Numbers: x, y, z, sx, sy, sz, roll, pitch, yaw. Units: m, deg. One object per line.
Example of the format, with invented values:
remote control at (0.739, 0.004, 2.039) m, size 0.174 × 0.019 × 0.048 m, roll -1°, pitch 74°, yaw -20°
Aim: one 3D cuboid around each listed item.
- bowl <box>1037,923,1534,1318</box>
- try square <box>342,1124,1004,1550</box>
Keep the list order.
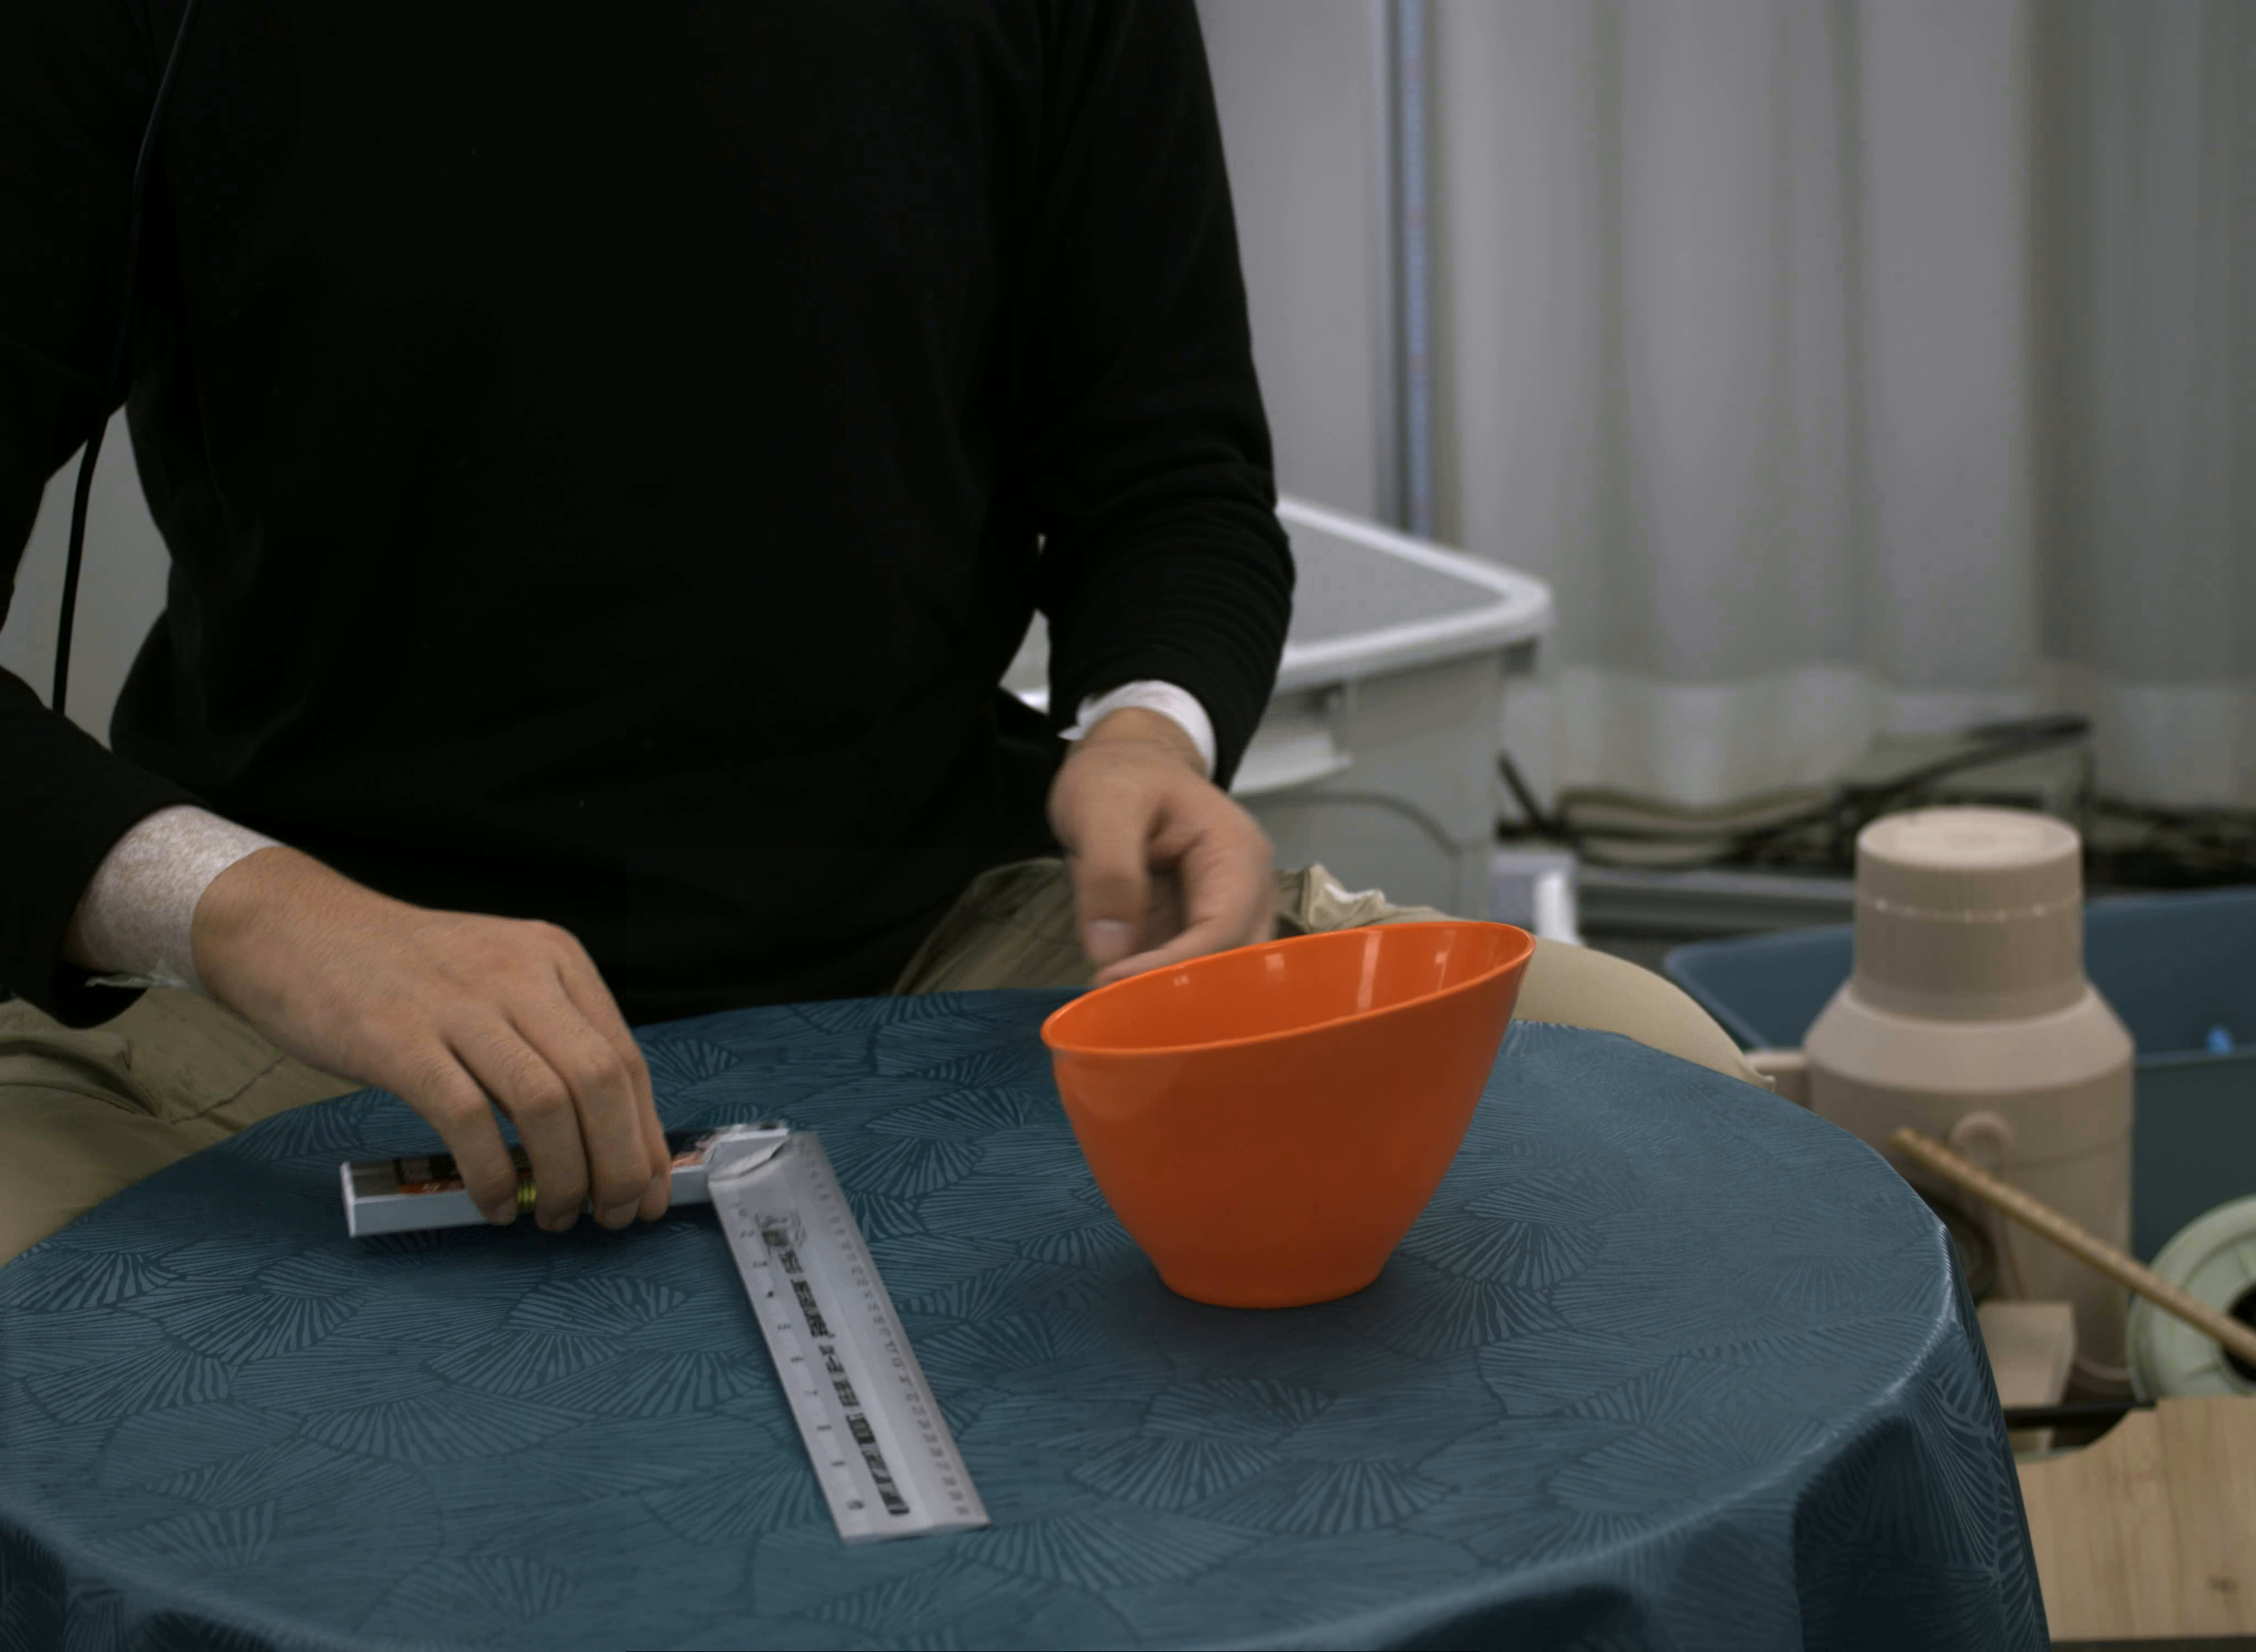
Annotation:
bowl at (0.048, 0.087, 1.614) m, size 0.147 × 0.104 × 0.149 m, roll -4°, pitch 15°, yaw 1°
try square at (-0.139, 0.153, 1.584) m, size 0.151 × 0.016 × 0.315 m, roll -9°, pitch 18°, yaw -10°
